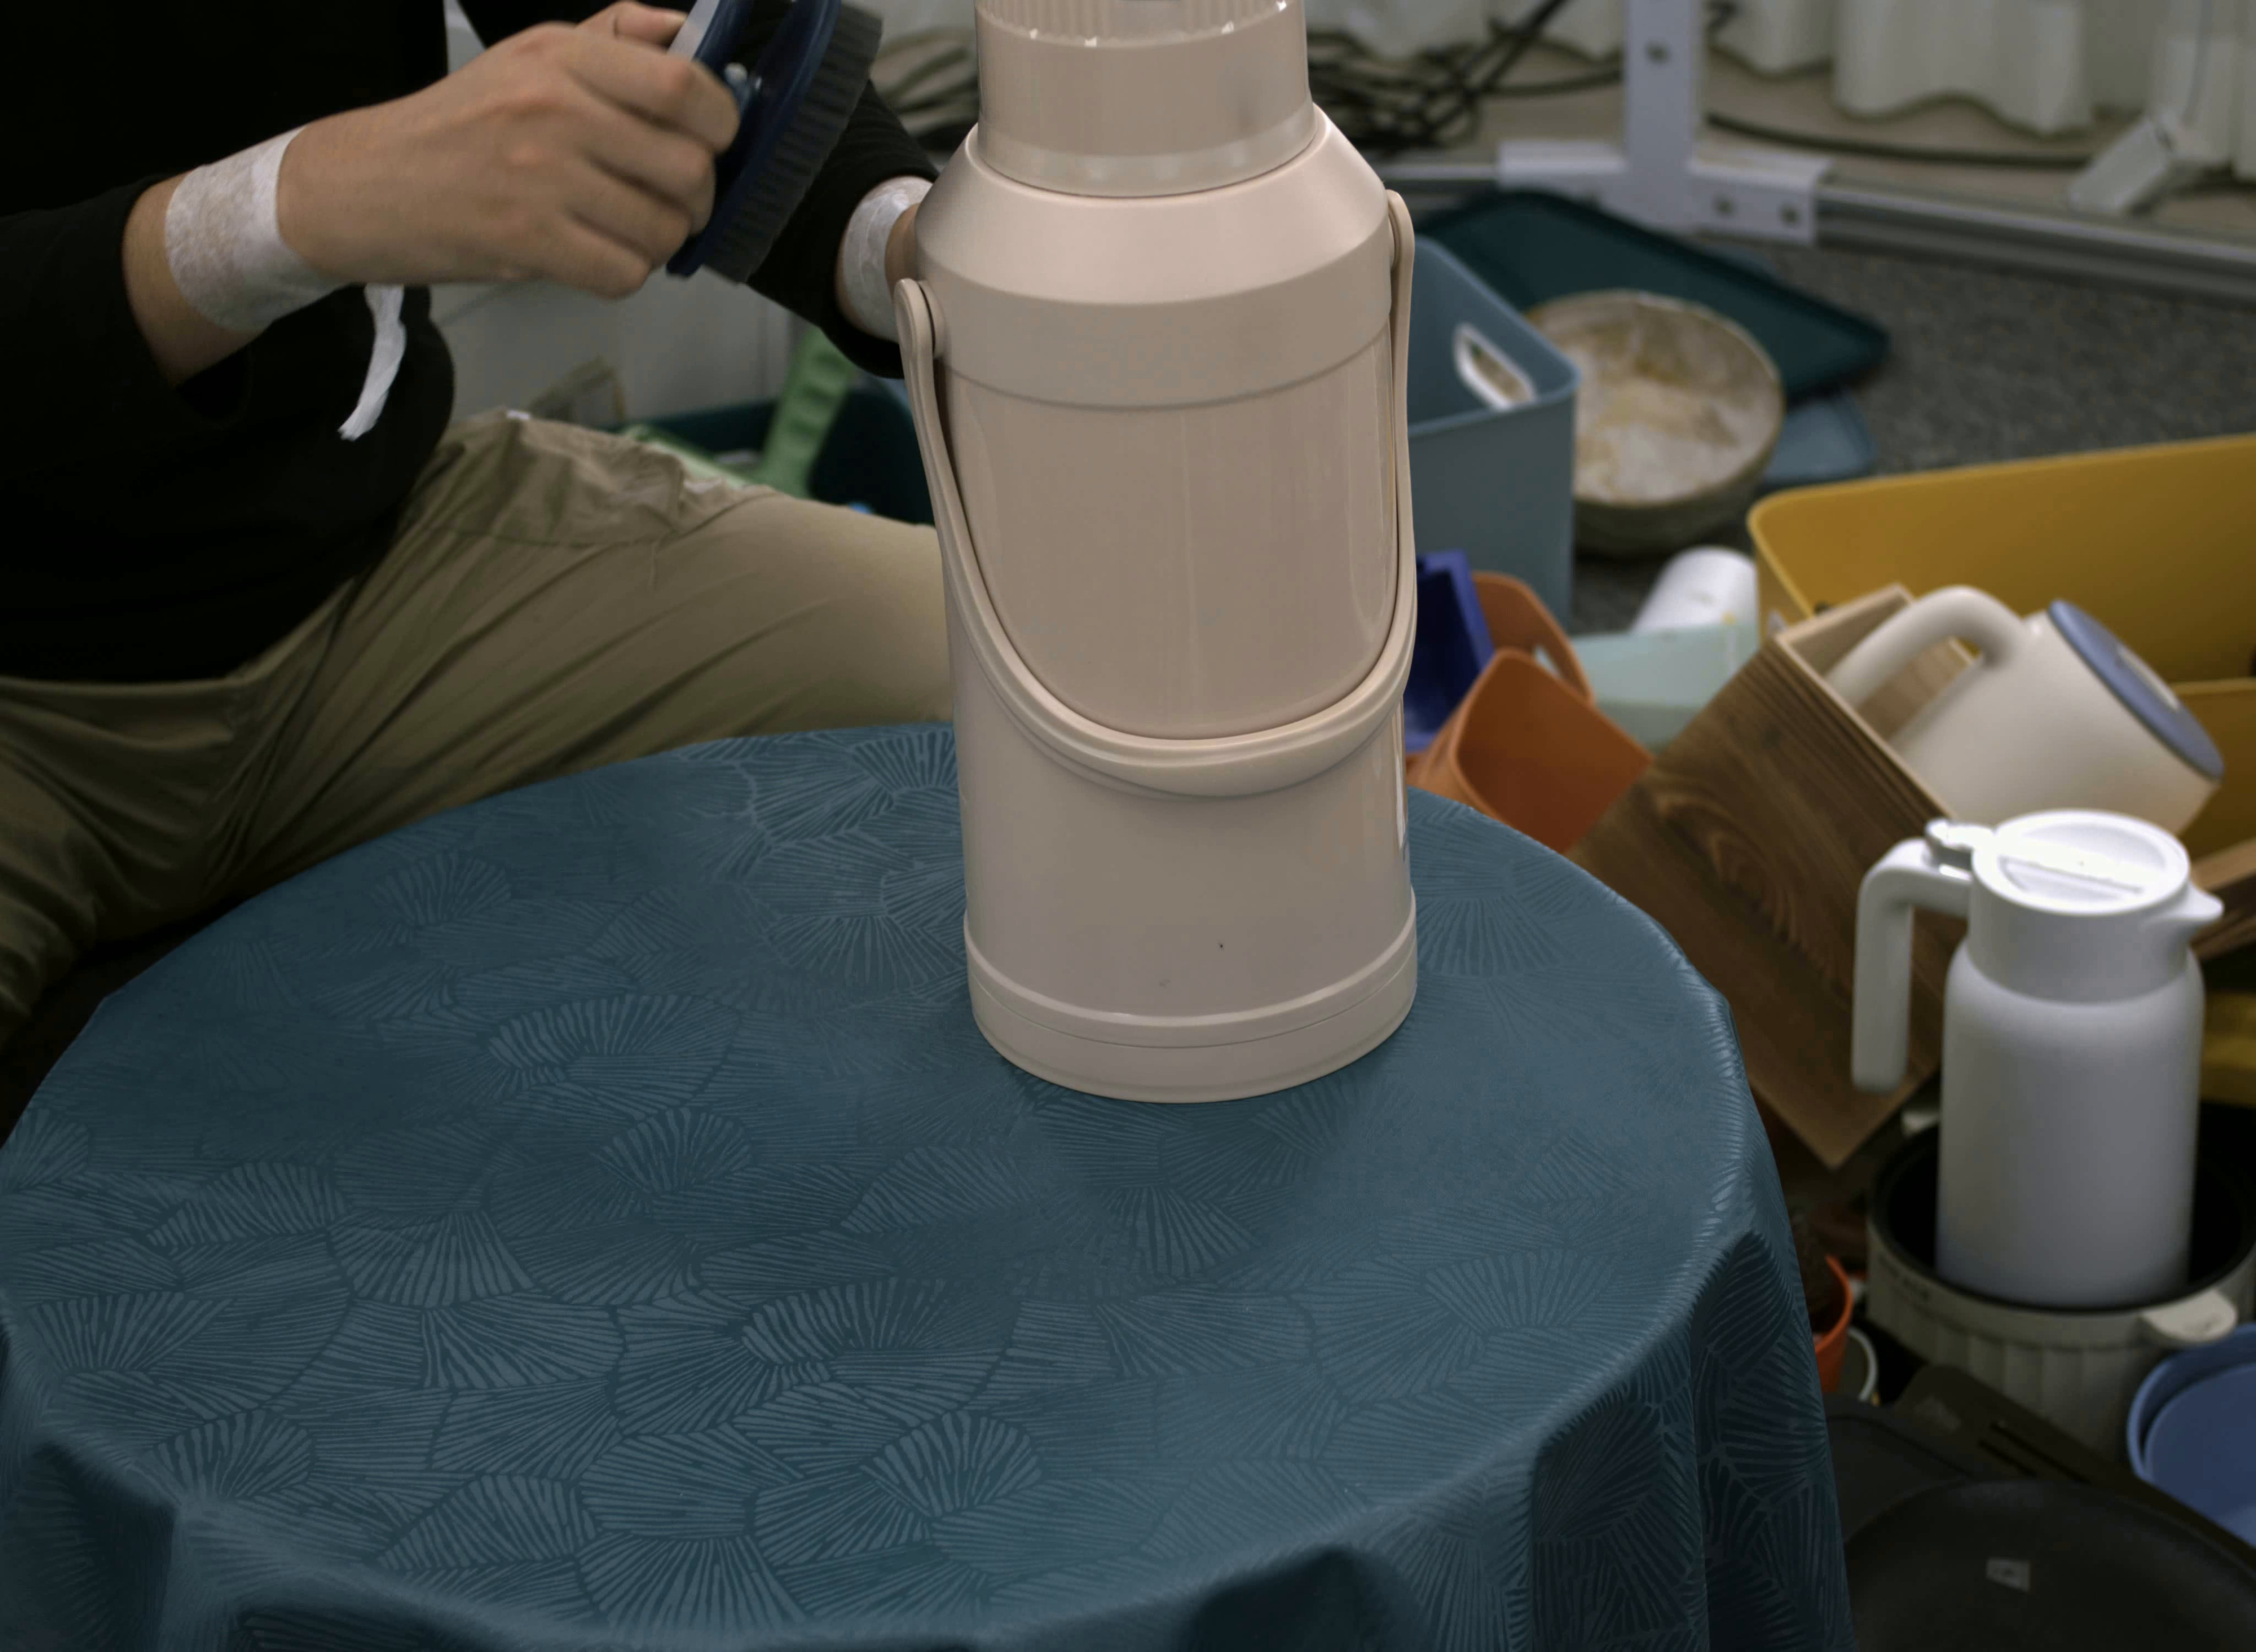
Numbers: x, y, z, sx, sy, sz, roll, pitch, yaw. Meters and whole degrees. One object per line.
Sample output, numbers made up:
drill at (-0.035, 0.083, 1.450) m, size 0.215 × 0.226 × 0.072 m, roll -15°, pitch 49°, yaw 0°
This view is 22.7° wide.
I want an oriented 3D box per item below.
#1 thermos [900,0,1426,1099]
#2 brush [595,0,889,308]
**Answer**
thermos at (0.011, -0.124, 1.909) m, size 0.176 × 0.402 × 0.209 m, roll -13°, pitch 28°, yaw -16°
brush at (-0.124, -0.222, 1.839) m, size 0.061 × 0.119 × 0.069 m, roll 26°, pitch 39°, yaw -14°
